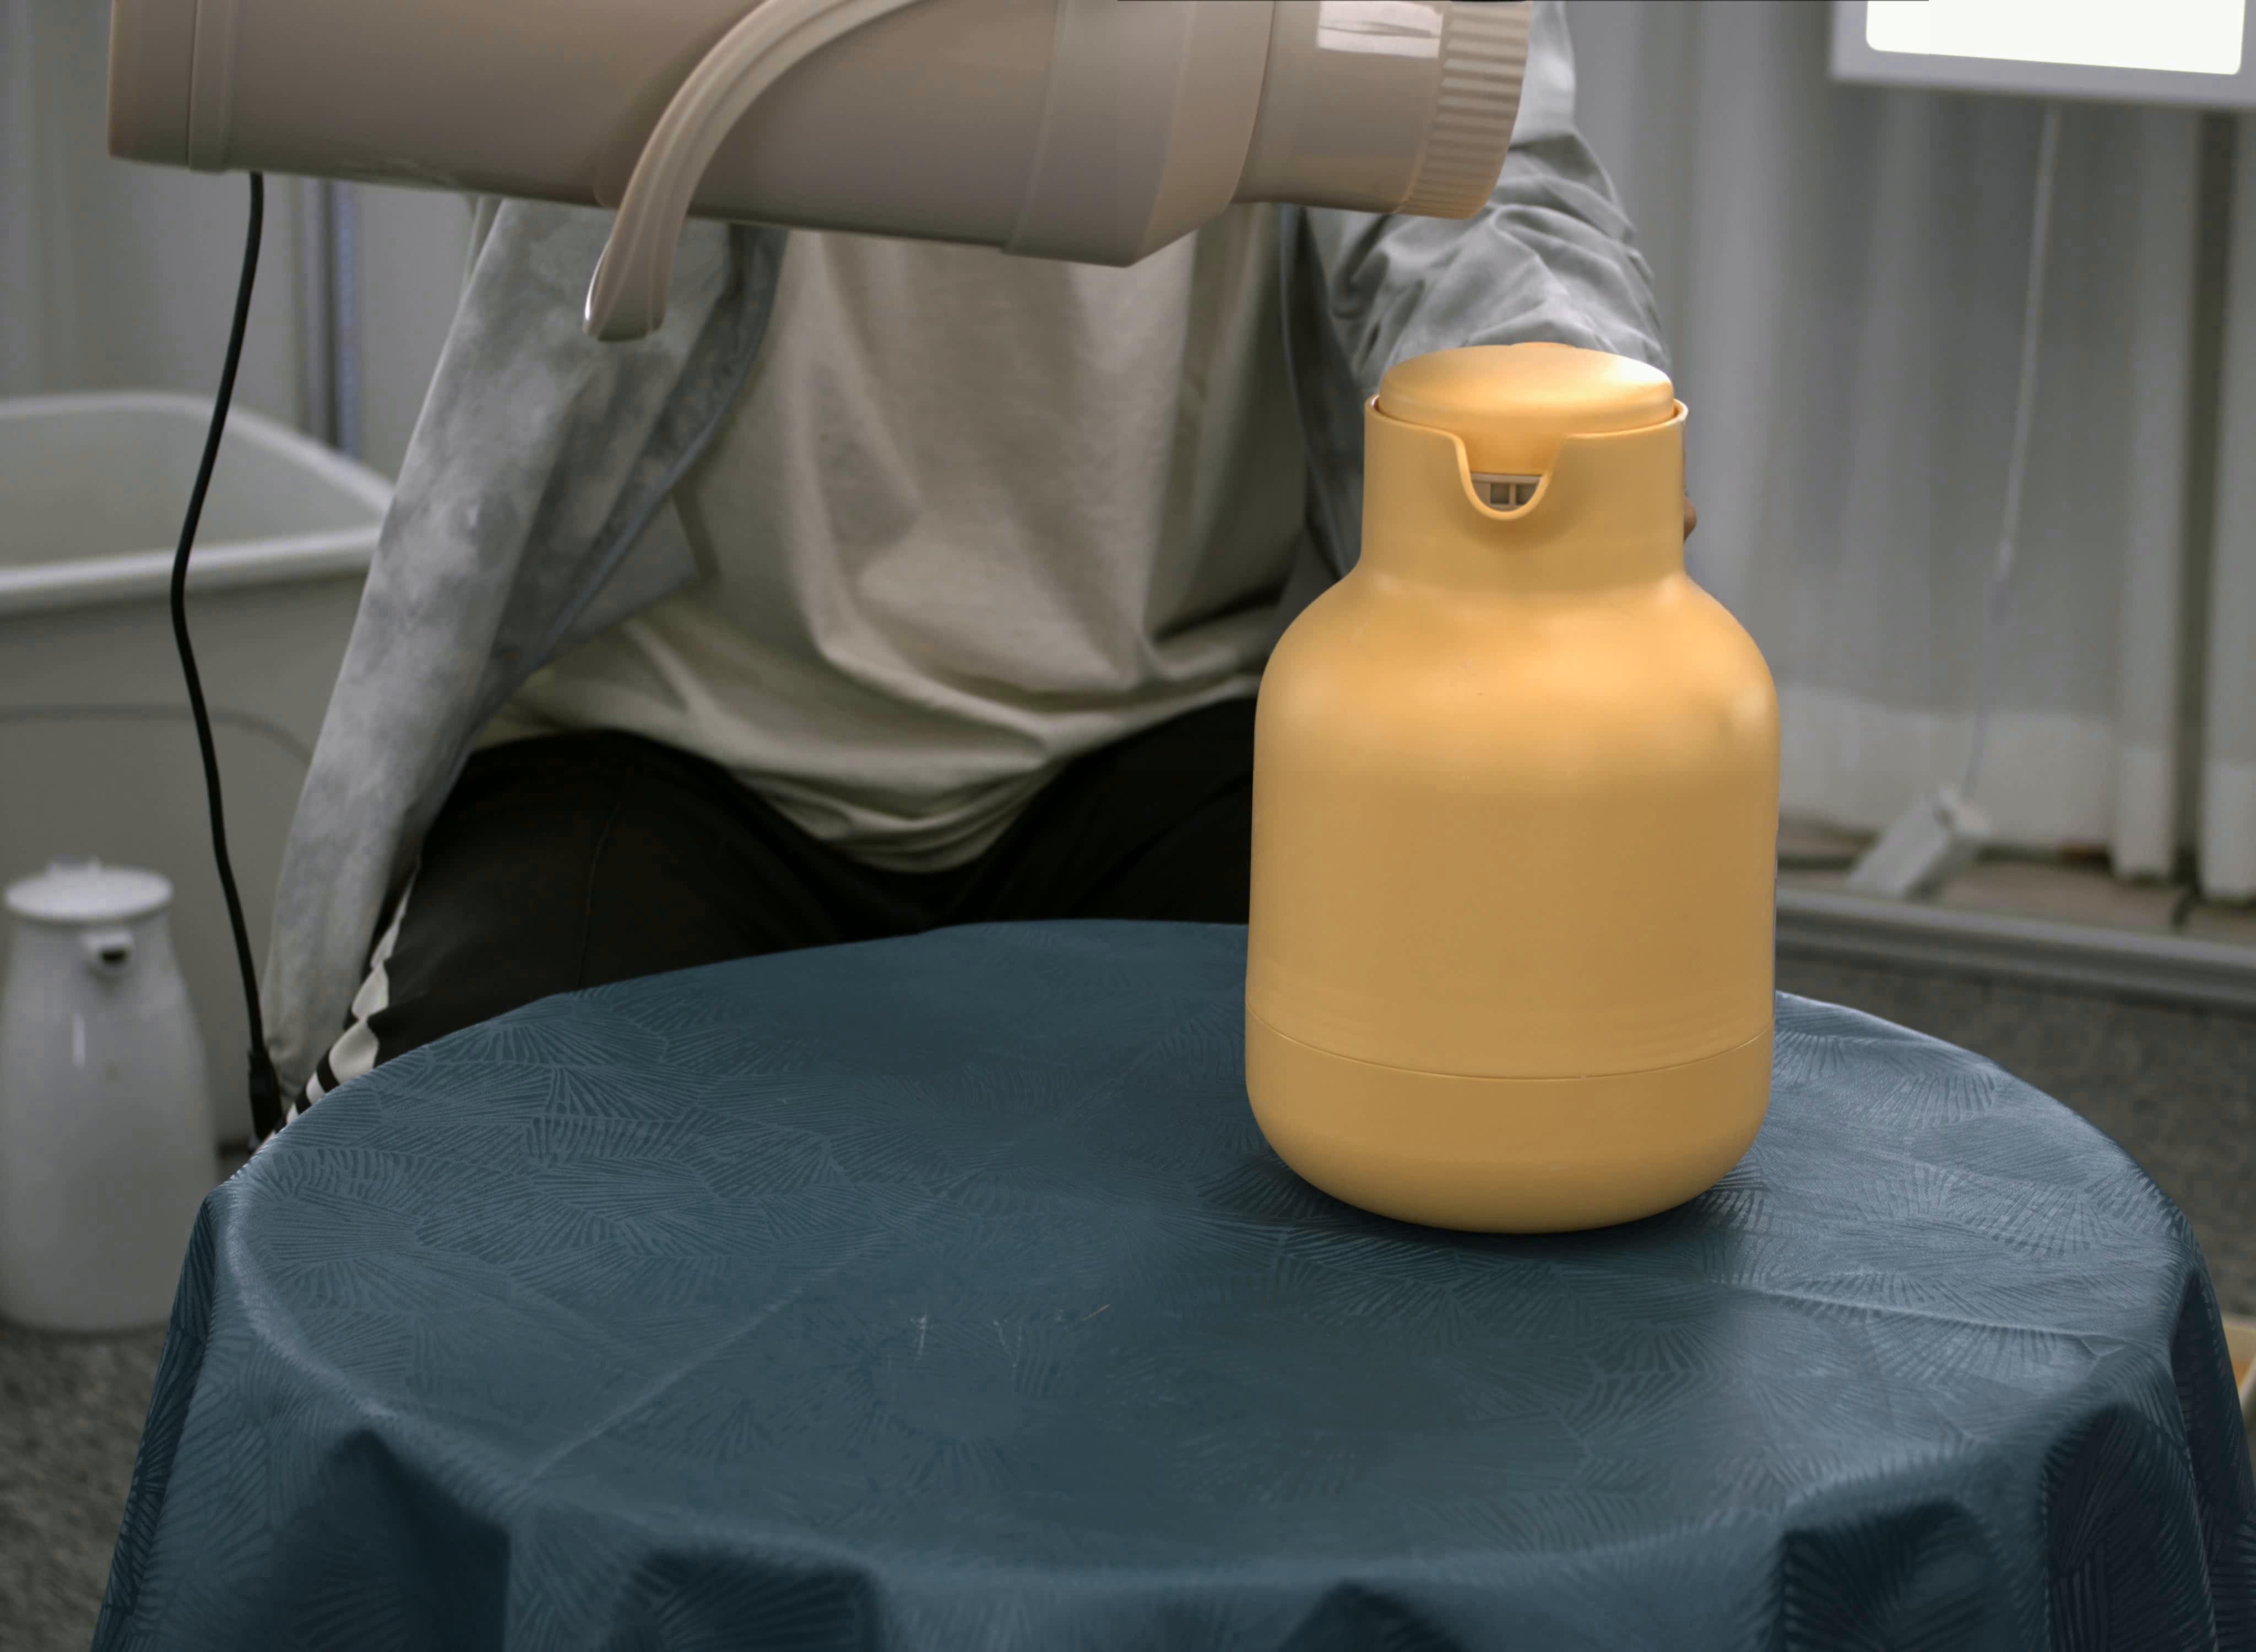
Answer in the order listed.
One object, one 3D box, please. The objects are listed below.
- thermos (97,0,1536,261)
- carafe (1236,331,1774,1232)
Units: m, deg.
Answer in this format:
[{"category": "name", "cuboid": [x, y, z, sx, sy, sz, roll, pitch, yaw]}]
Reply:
[{"category": "thermos", "cuboid": [-0.088, -0.266, 1.525, 0.406, 0.207, 0.175, 5, -5, -8]}, {"category": "carafe", "cuboid": [0.121, -0.022, 1.623, 0.162, 0.262, 0.202, 5, 18, 9]}]
